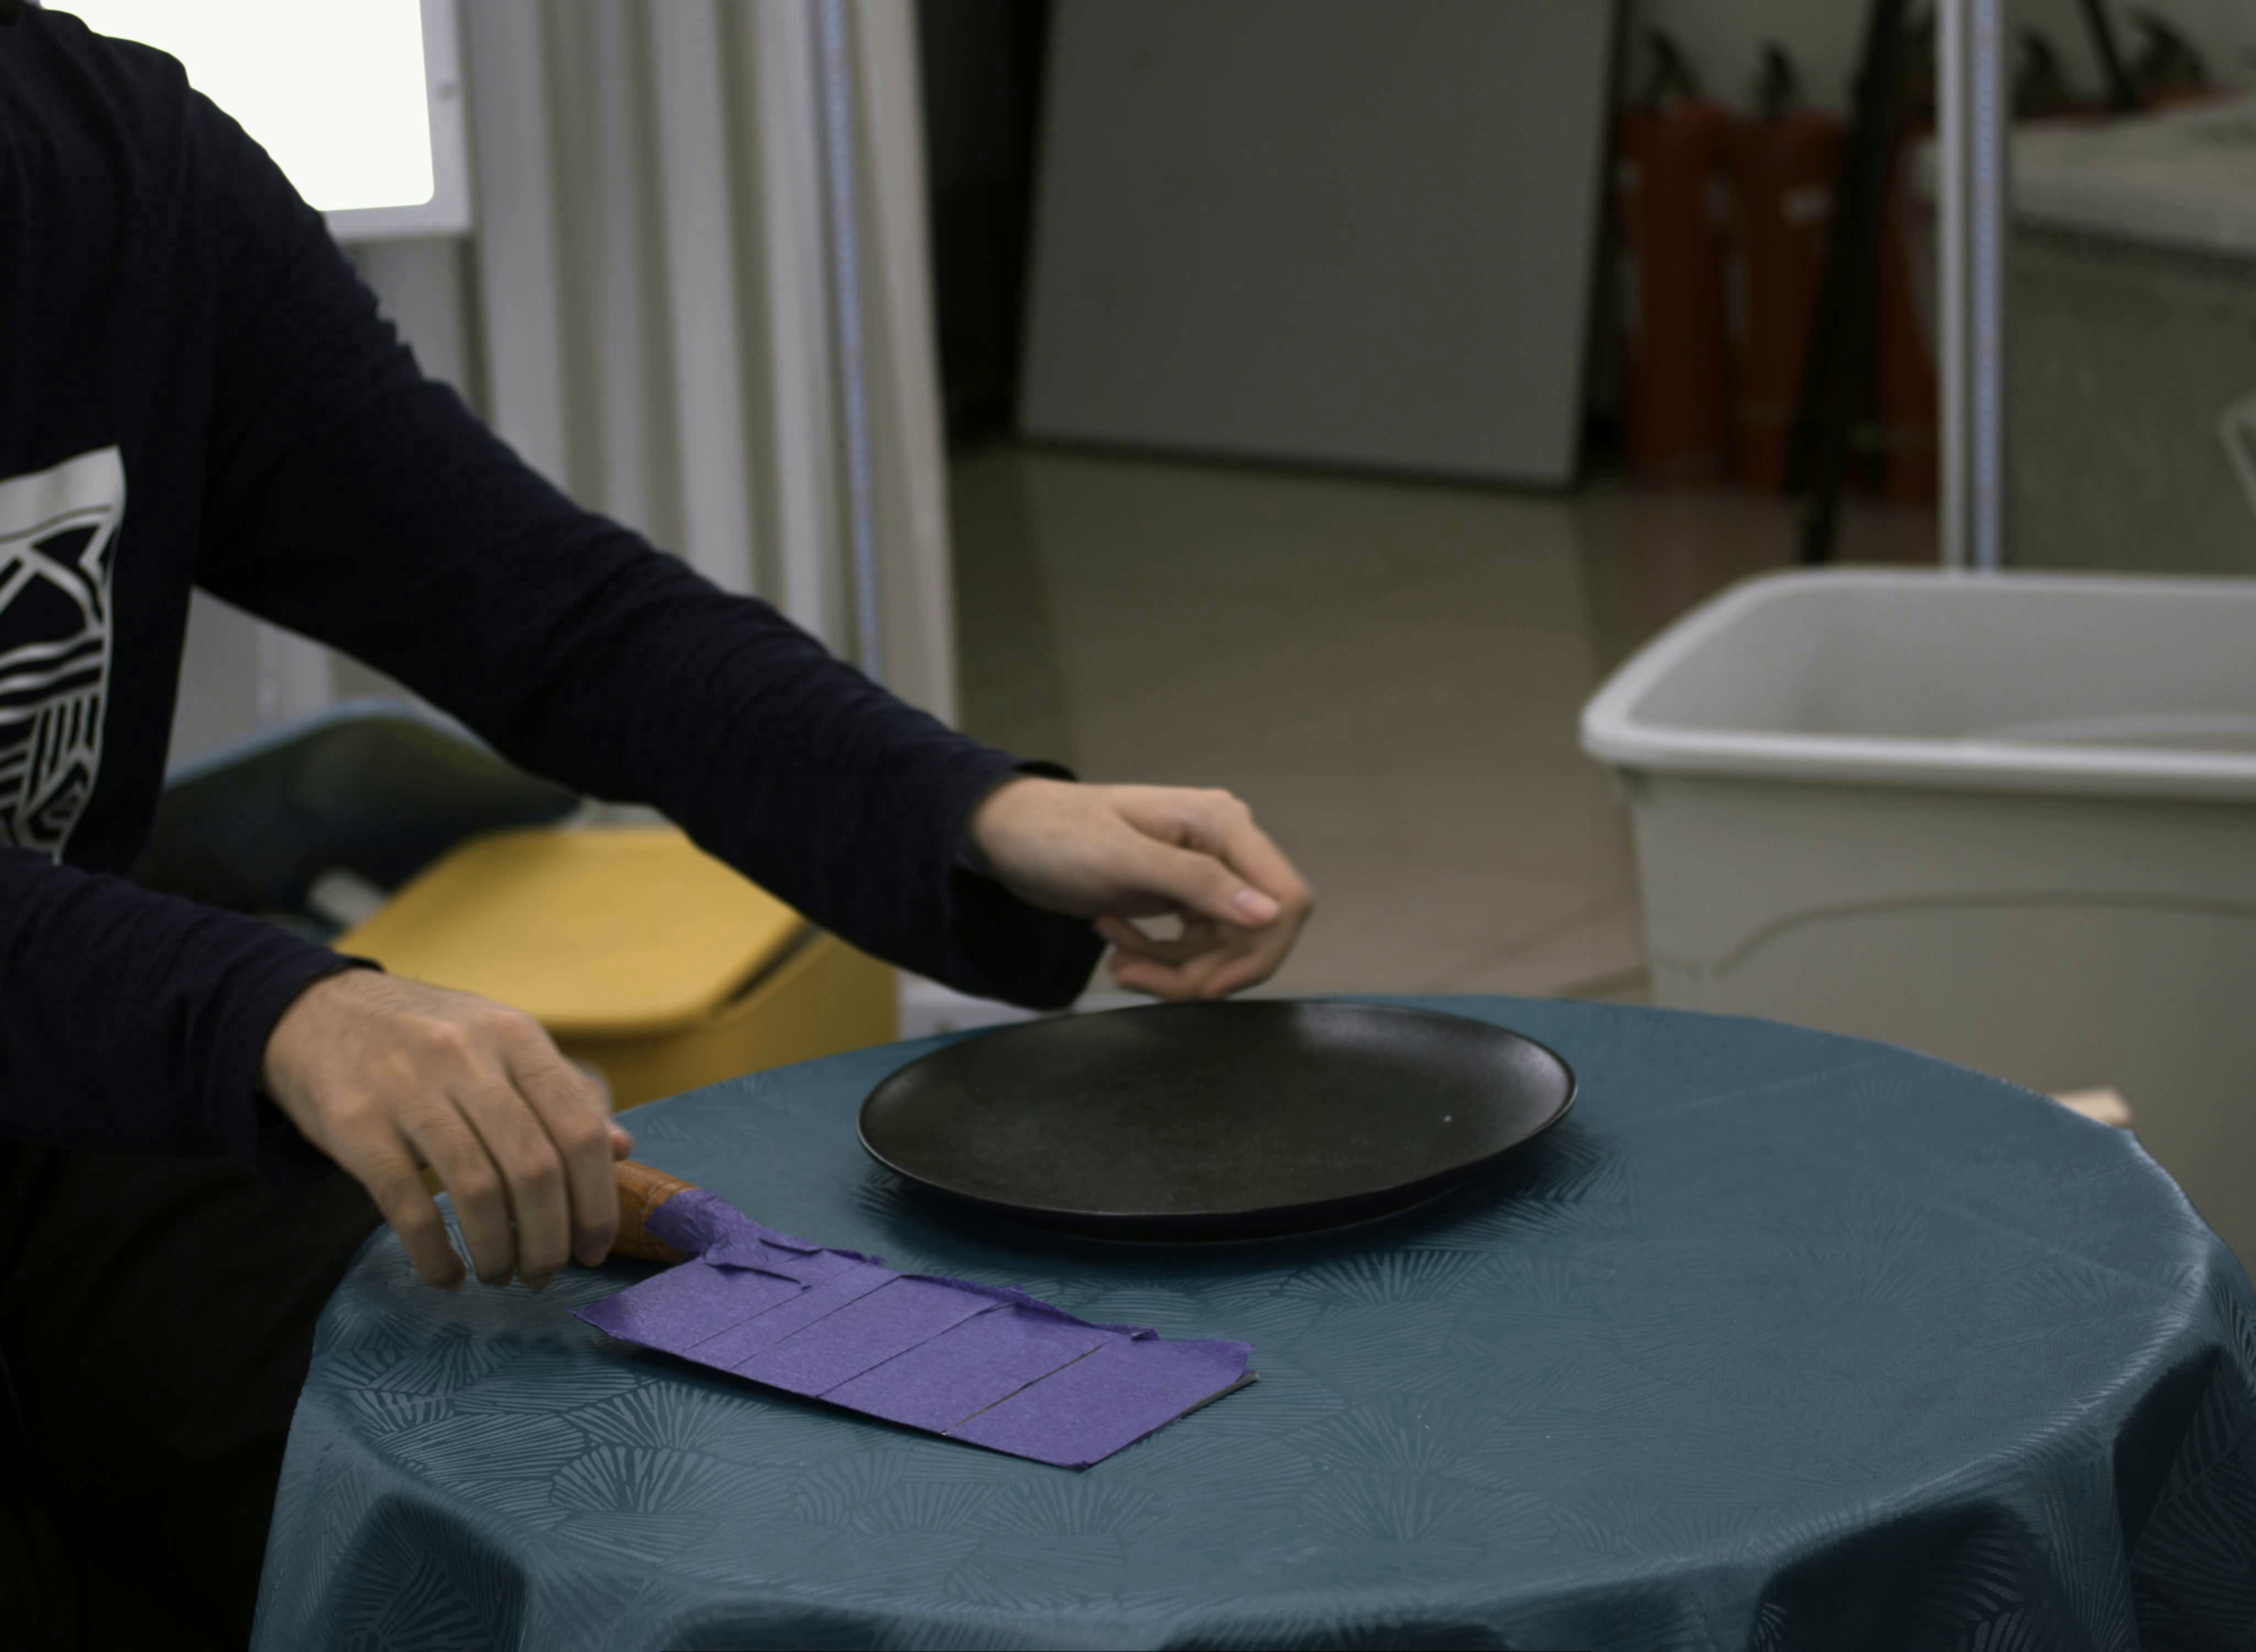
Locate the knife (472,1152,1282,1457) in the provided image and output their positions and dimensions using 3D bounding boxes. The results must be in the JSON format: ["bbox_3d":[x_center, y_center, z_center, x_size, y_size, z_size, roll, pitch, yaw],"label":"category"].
[{"bbox_3d":[-0.104,0.145,1.653,0.318,0.032,0.102,8,18,39],"label":"knife"}]

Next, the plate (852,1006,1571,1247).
[{"bbox_3d":[0.028,0.102,1.799,0.241,0.024,0.245,-4,13,0],"label":"plate"}]
